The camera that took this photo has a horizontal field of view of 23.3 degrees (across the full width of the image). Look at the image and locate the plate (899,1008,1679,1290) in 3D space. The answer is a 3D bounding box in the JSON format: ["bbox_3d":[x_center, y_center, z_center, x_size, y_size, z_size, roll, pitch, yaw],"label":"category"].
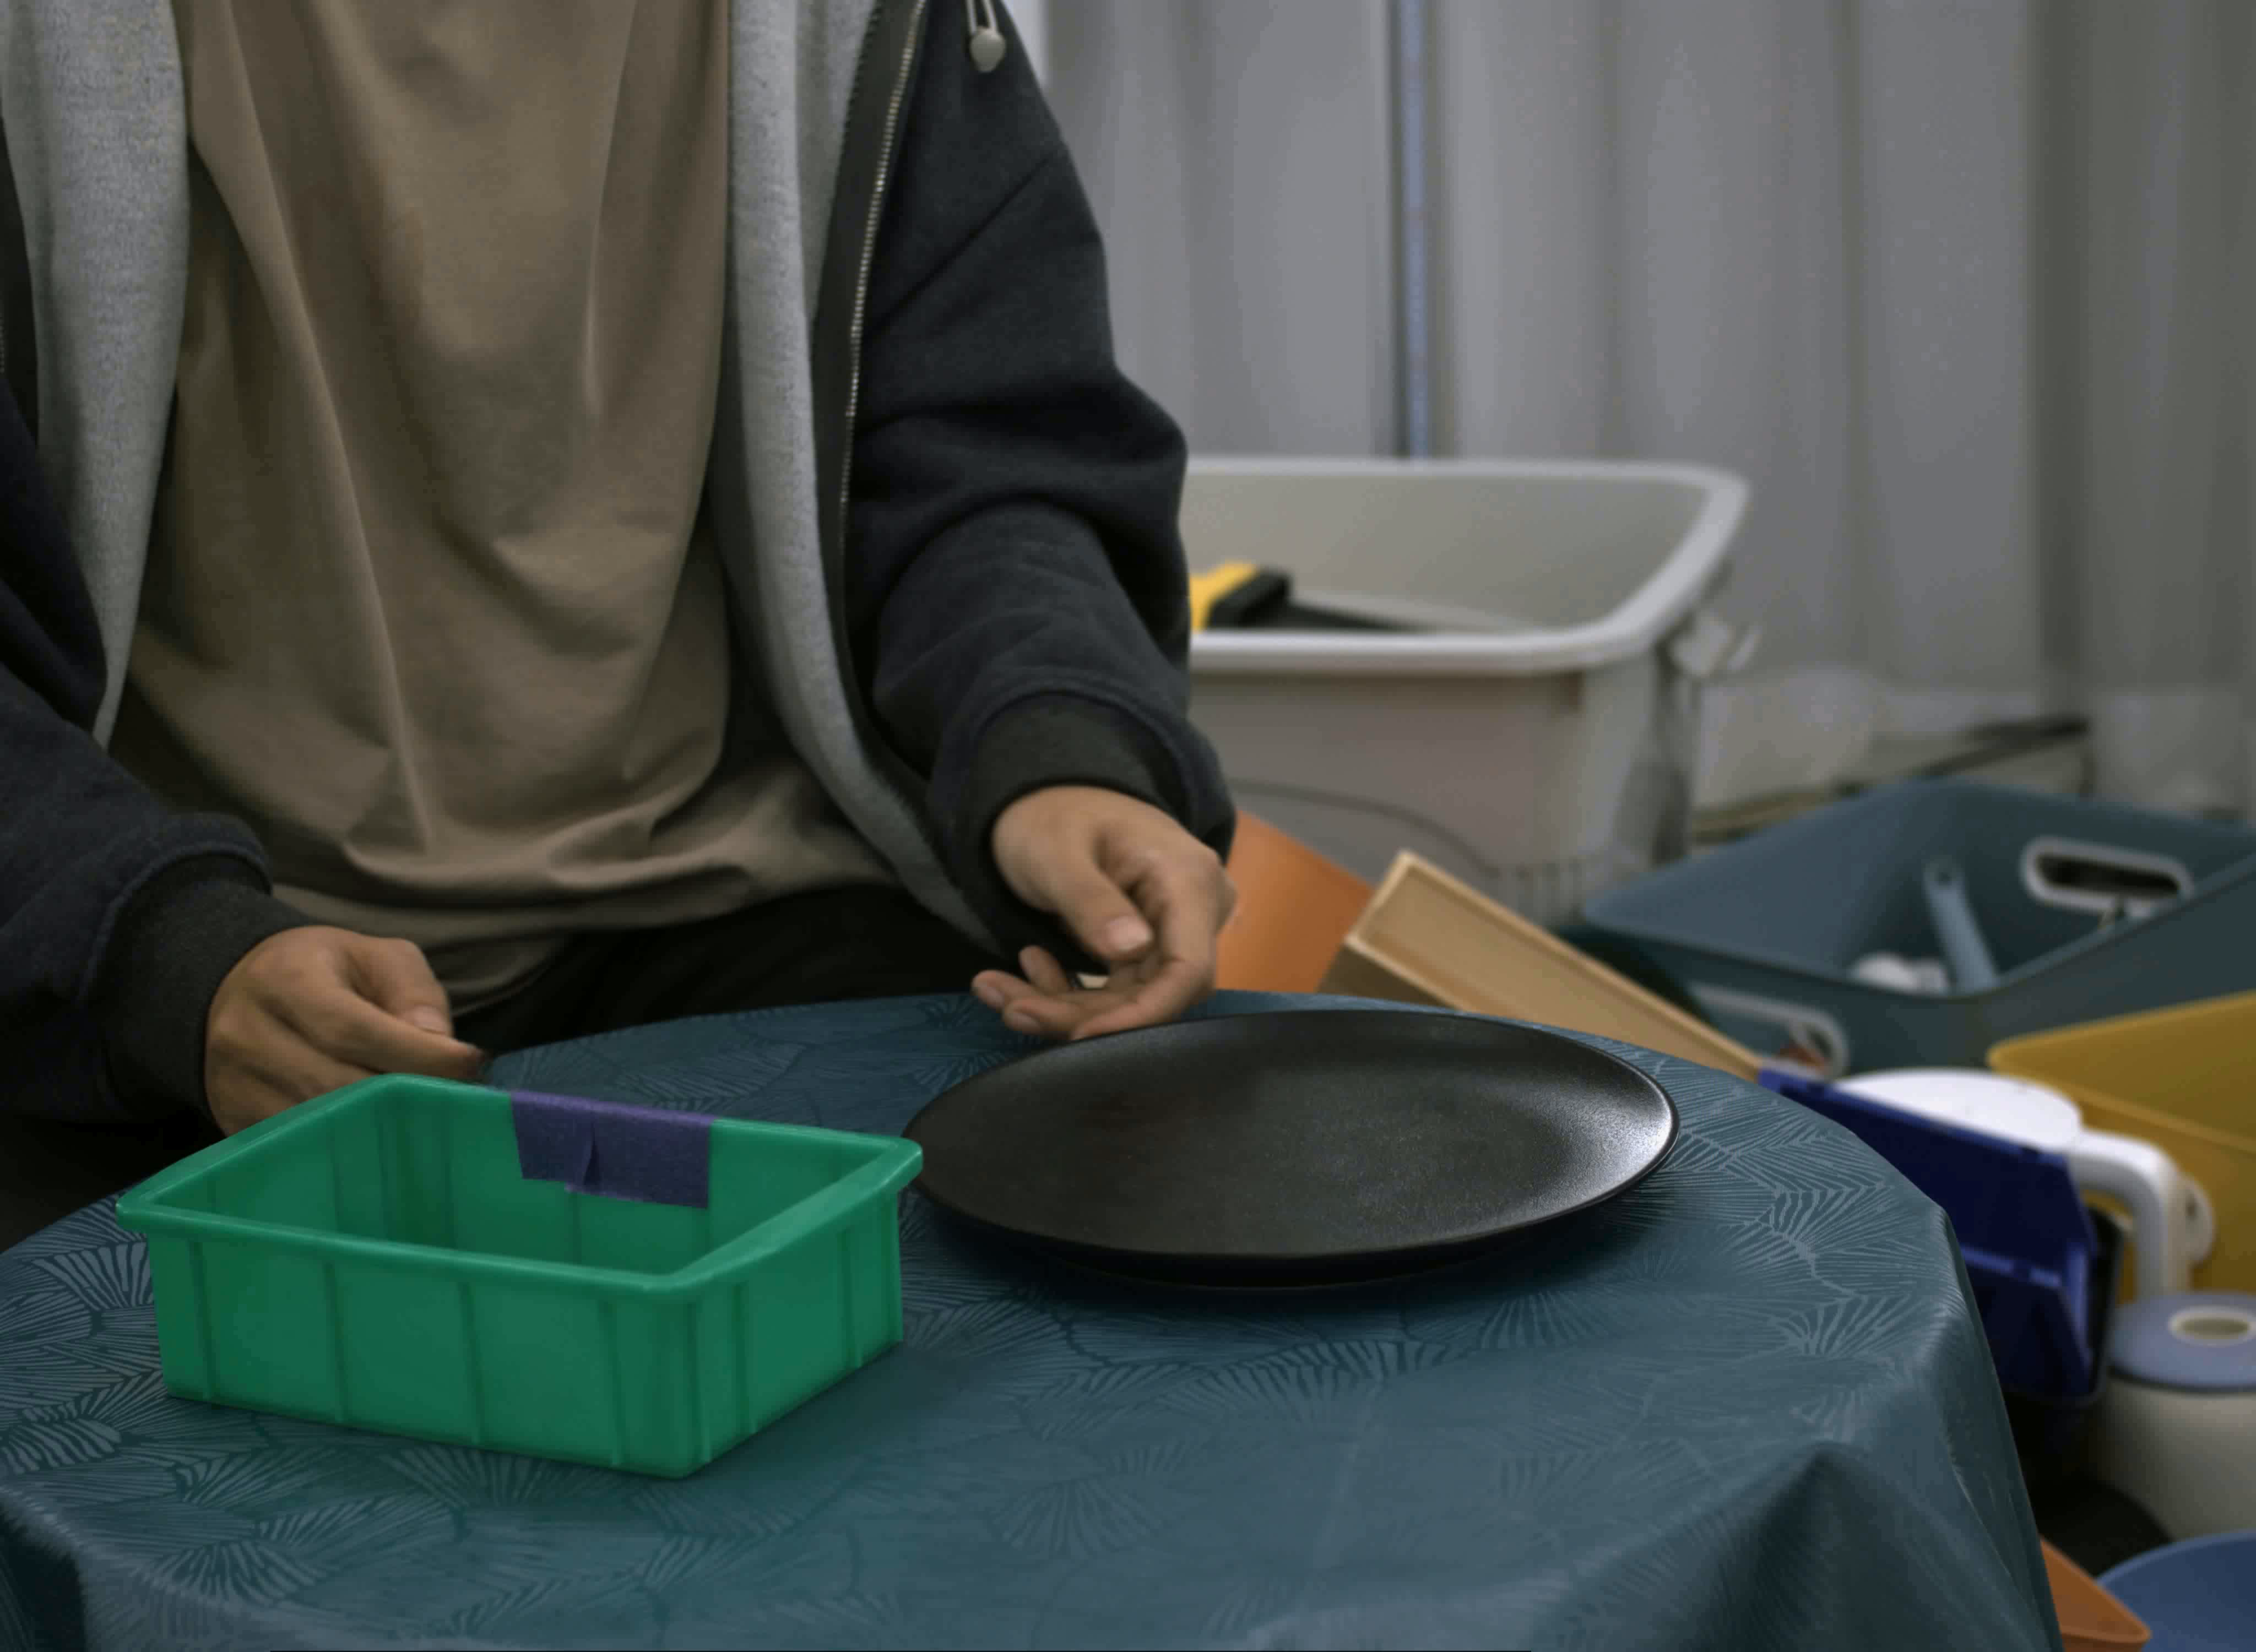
[{"bbox_3d":[0.050,0.103,1.705,0.243,0.023,0.246,-3,15,1],"label":"plate"}]

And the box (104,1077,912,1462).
[{"bbox_3d":[-0.176,0.127,1.581,0.211,0.065,0.139,3,14,28],"label":"box"}]
